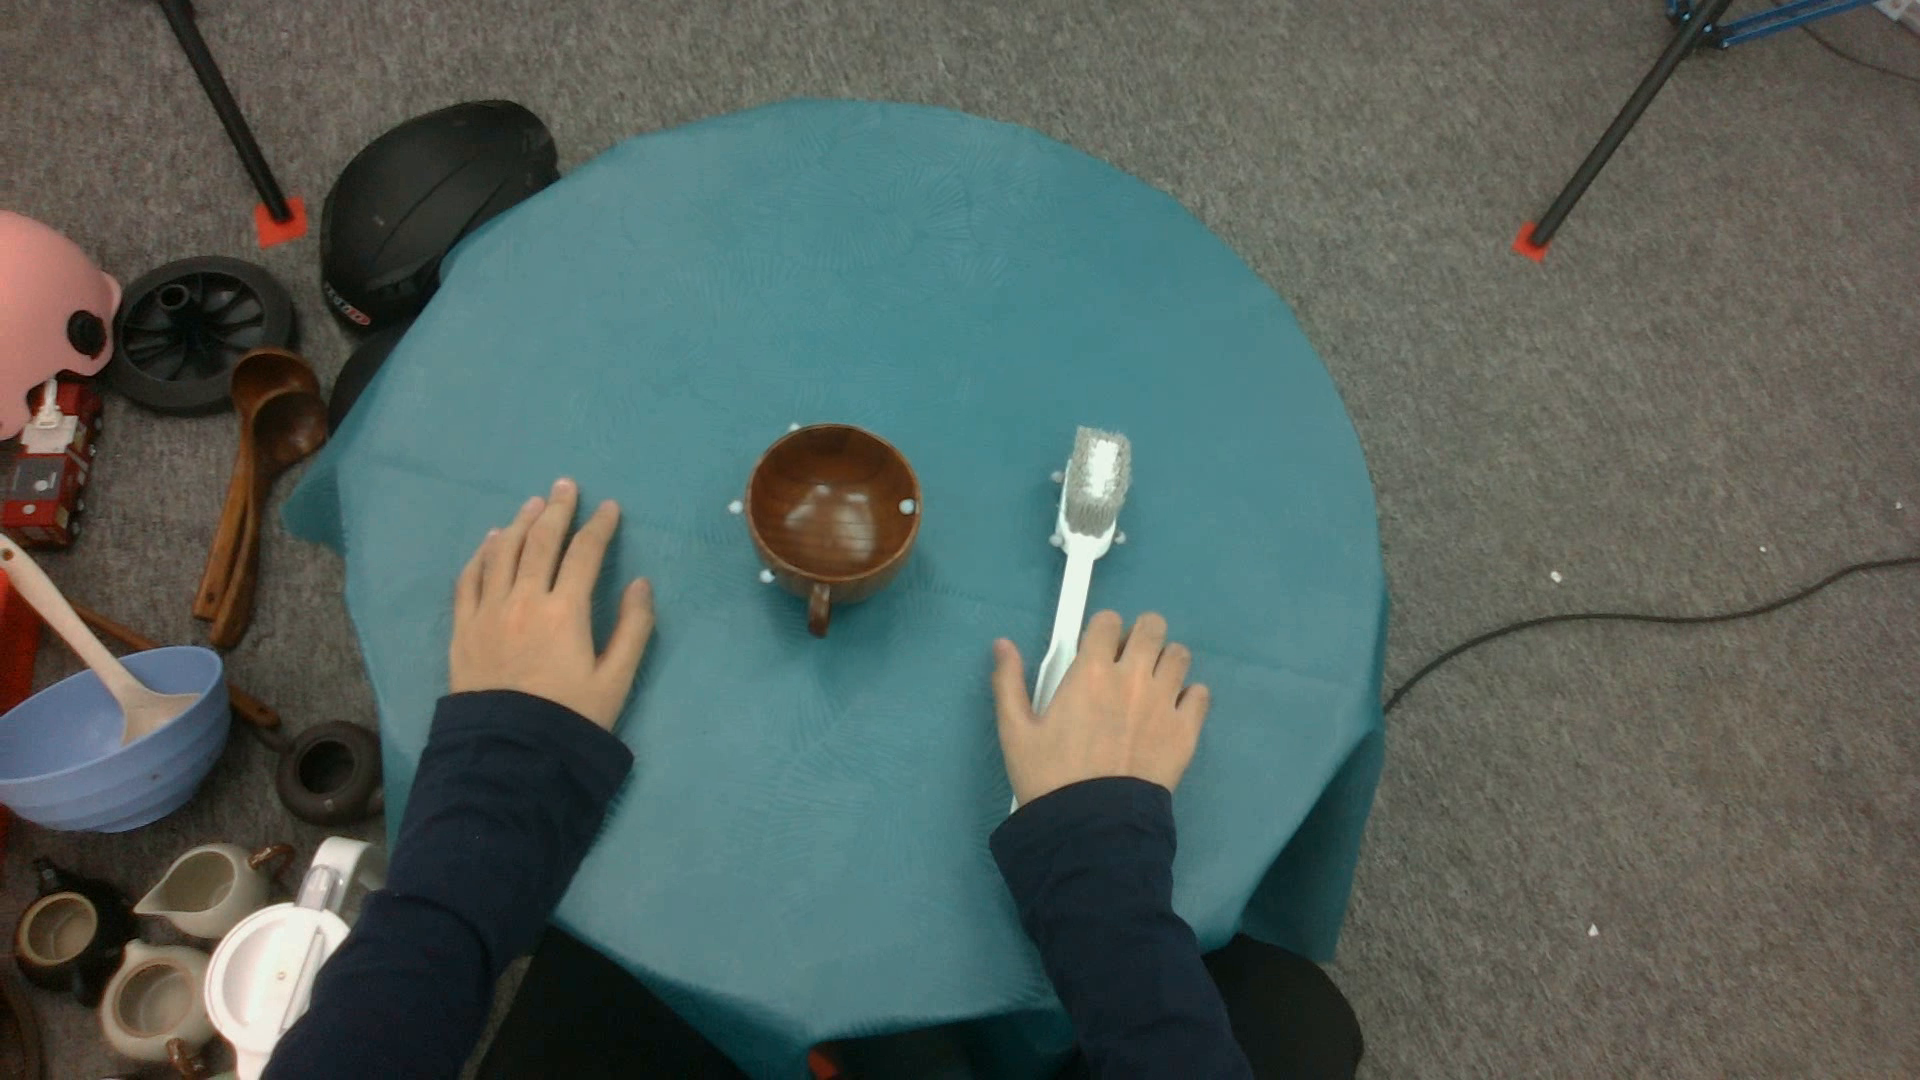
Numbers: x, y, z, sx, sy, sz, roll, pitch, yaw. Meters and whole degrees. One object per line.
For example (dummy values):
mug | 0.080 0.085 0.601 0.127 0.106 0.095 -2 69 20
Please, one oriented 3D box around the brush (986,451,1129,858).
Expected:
brush | 0.056 0.056 0.772 0.034 0.050 0.244 17 62 -1

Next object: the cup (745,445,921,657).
cup | -0.073 0.014 0.765 0.096 0.067 0.120 7 60 -5
